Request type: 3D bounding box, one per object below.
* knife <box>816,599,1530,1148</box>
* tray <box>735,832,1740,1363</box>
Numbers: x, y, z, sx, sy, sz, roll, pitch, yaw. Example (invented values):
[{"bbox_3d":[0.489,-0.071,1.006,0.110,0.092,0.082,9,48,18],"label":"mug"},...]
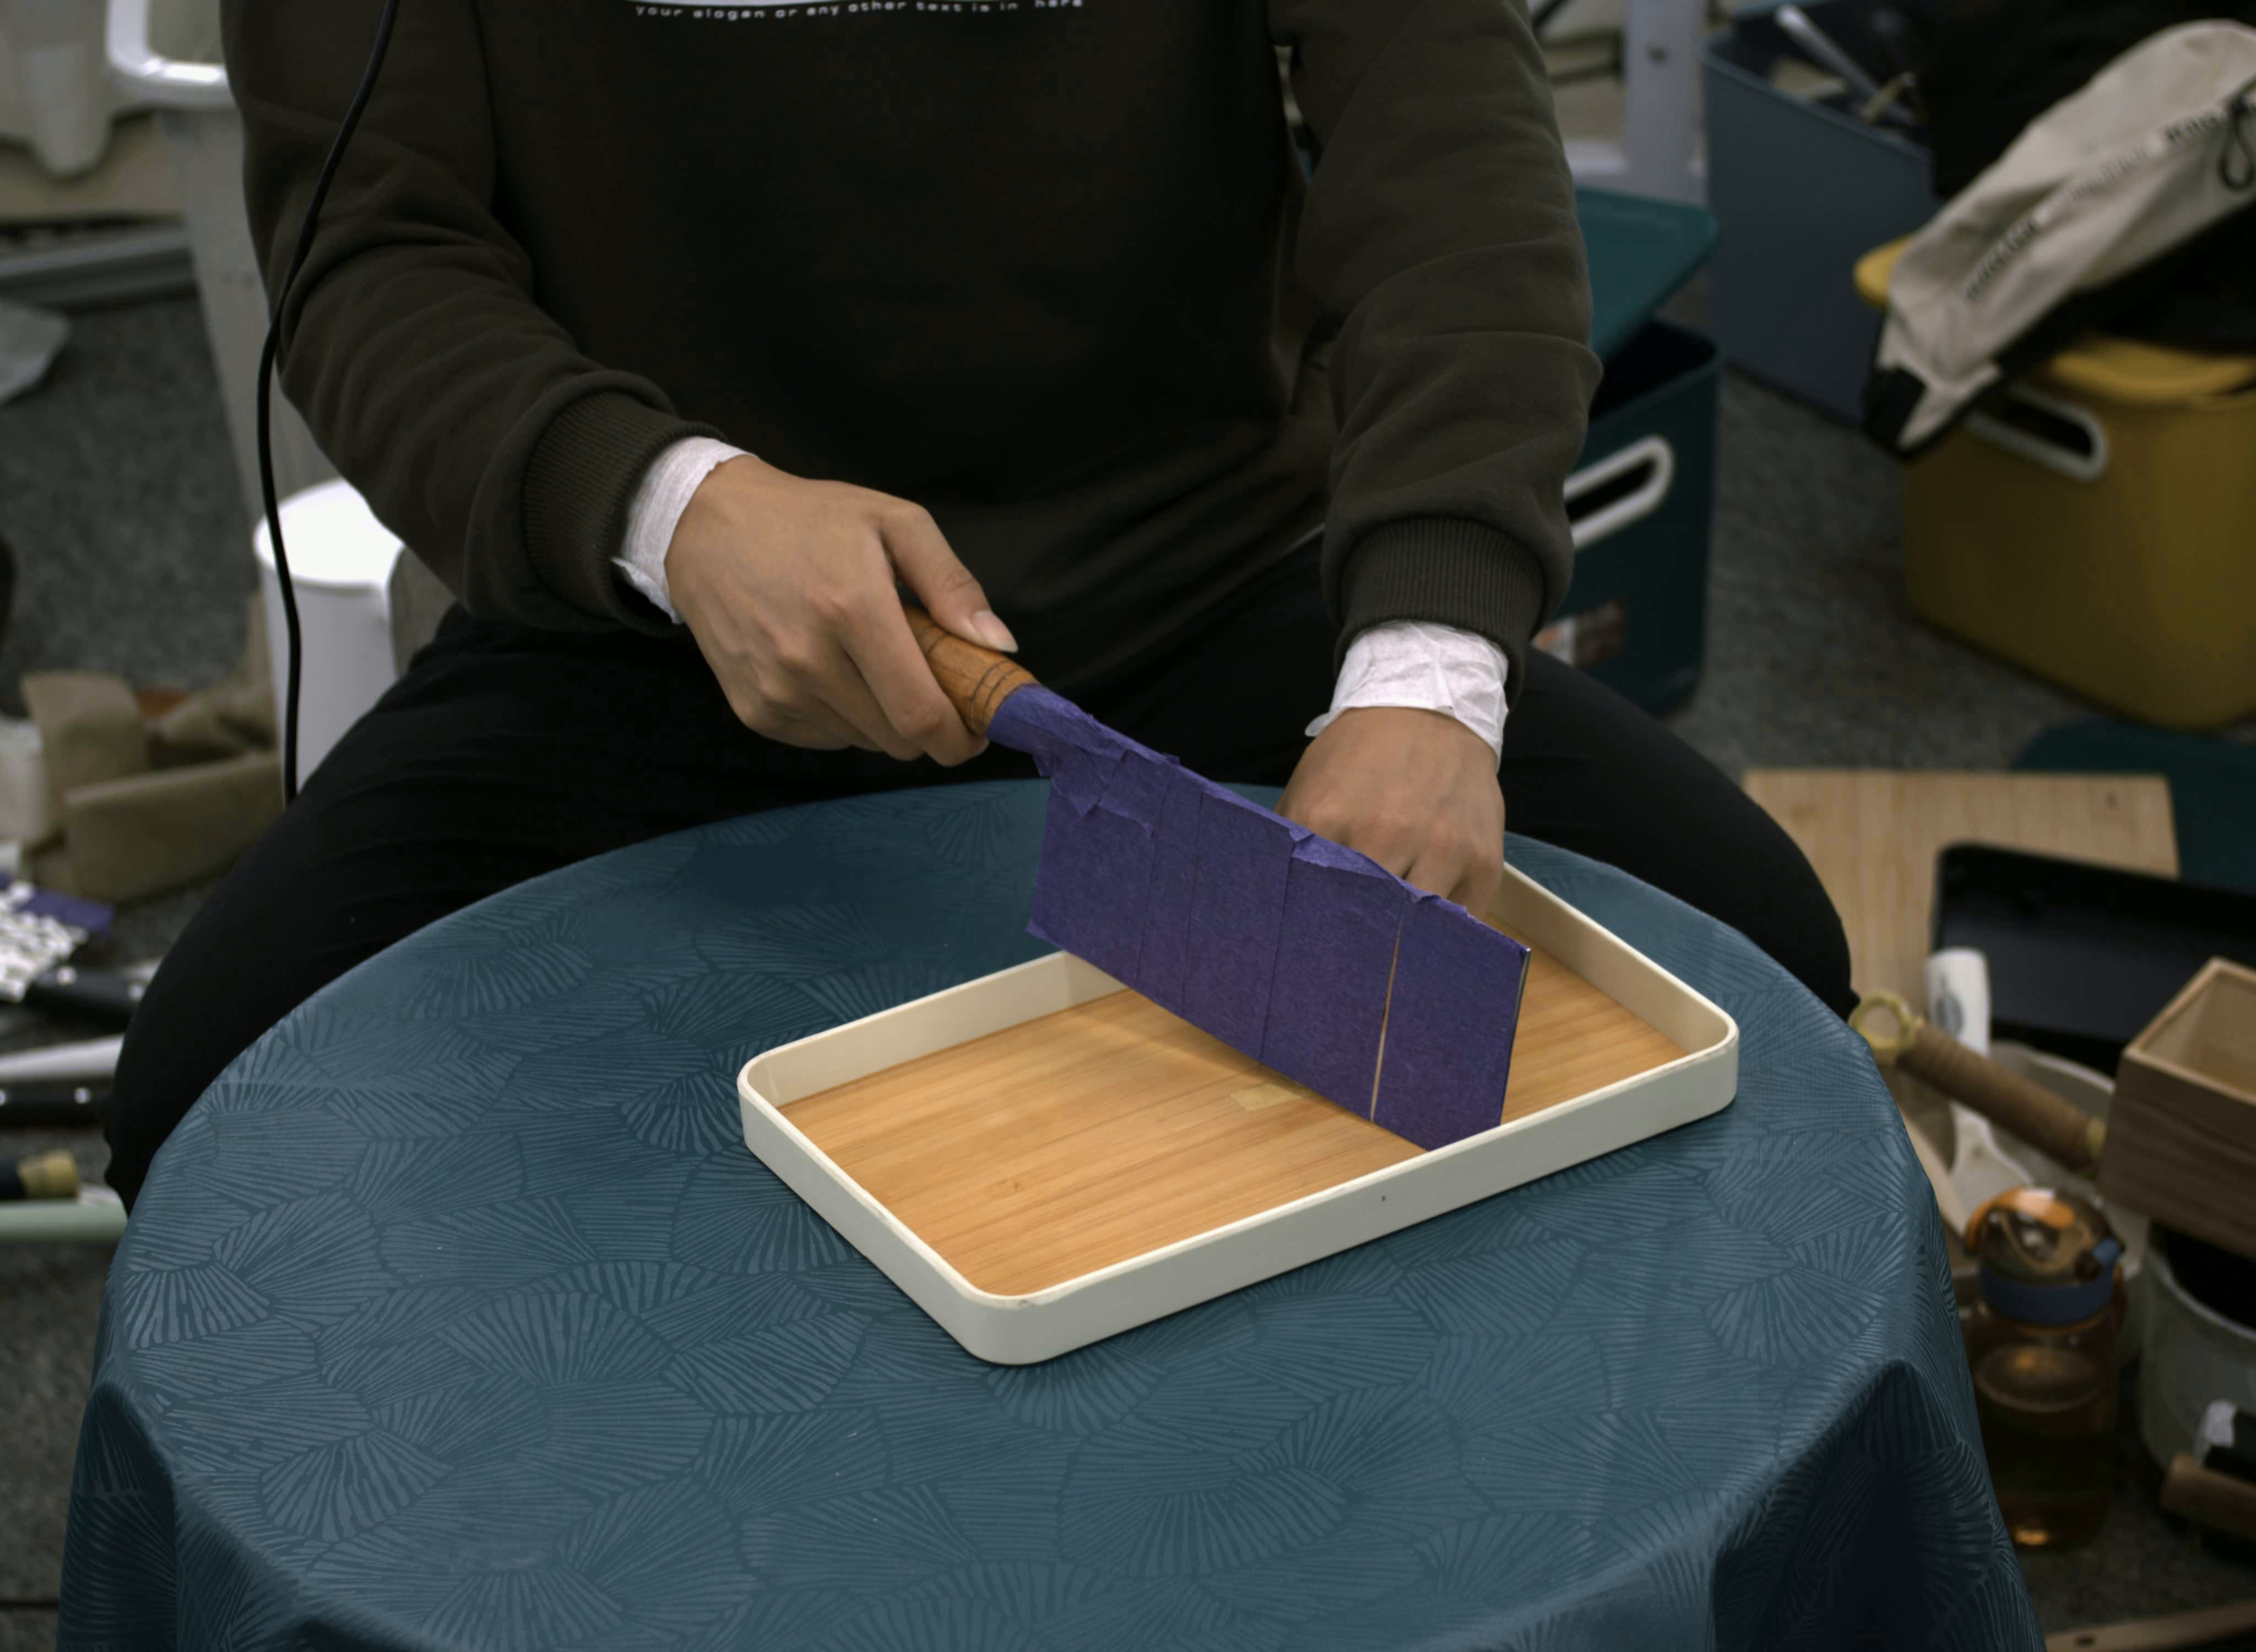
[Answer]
[{"bbox_3d":[0.008,0.017,1.913,0.315,0.103,0.032,28,29,36],"label":"knife"},{"bbox_3d":[0.037,0.087,1.896,0.302,0.027,0.192,-18,31,-26],"label":"tray"}]
